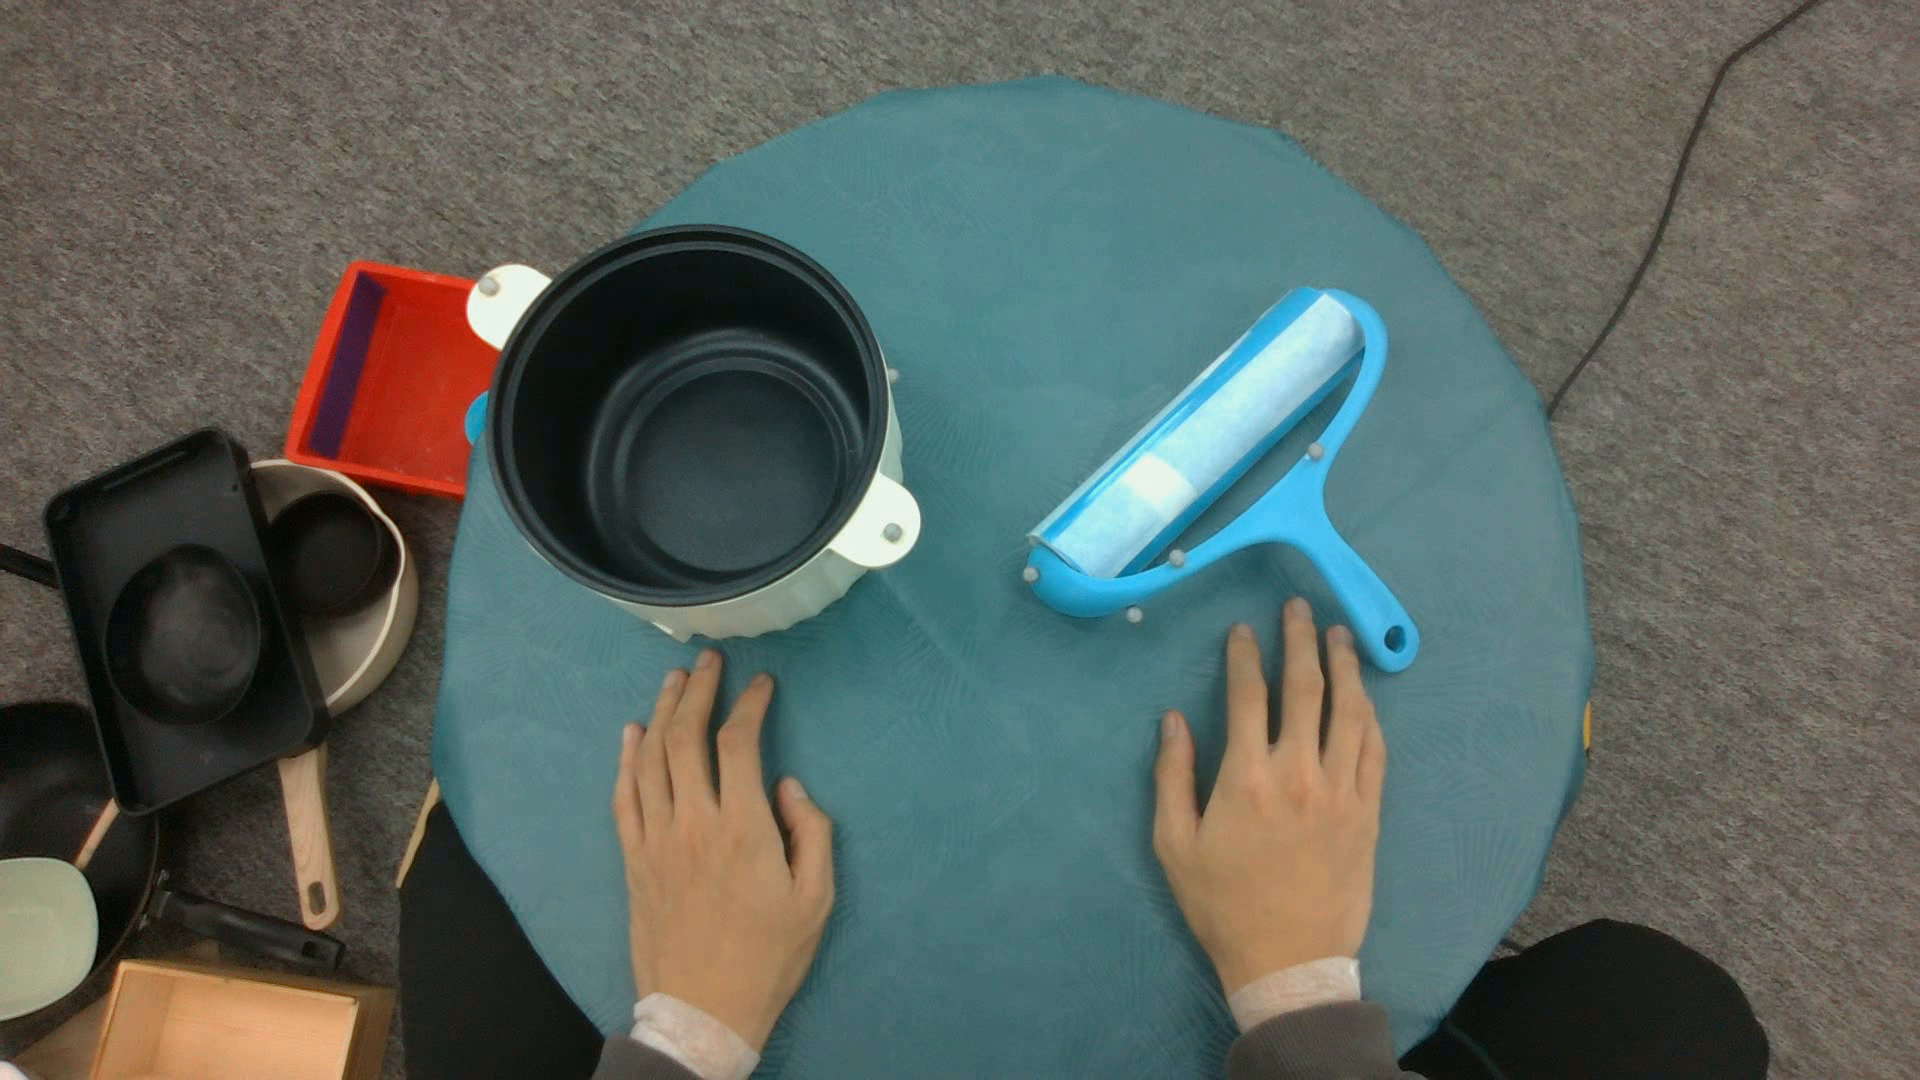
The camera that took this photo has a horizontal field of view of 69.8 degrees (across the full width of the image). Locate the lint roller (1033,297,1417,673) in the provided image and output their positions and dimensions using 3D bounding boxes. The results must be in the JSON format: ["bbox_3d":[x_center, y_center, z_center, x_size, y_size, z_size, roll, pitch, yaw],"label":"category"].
[{"bbox_3d":[0.169,-0.006,0.708,0.229,0.068,0.180,-44,75,-9],"label":"lint roller"}]

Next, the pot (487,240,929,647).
[{"bbox_3d":[-0.113,-0.044,0.696,0.240,0.142,0.191,30,82,10],"label":"pot"}]
